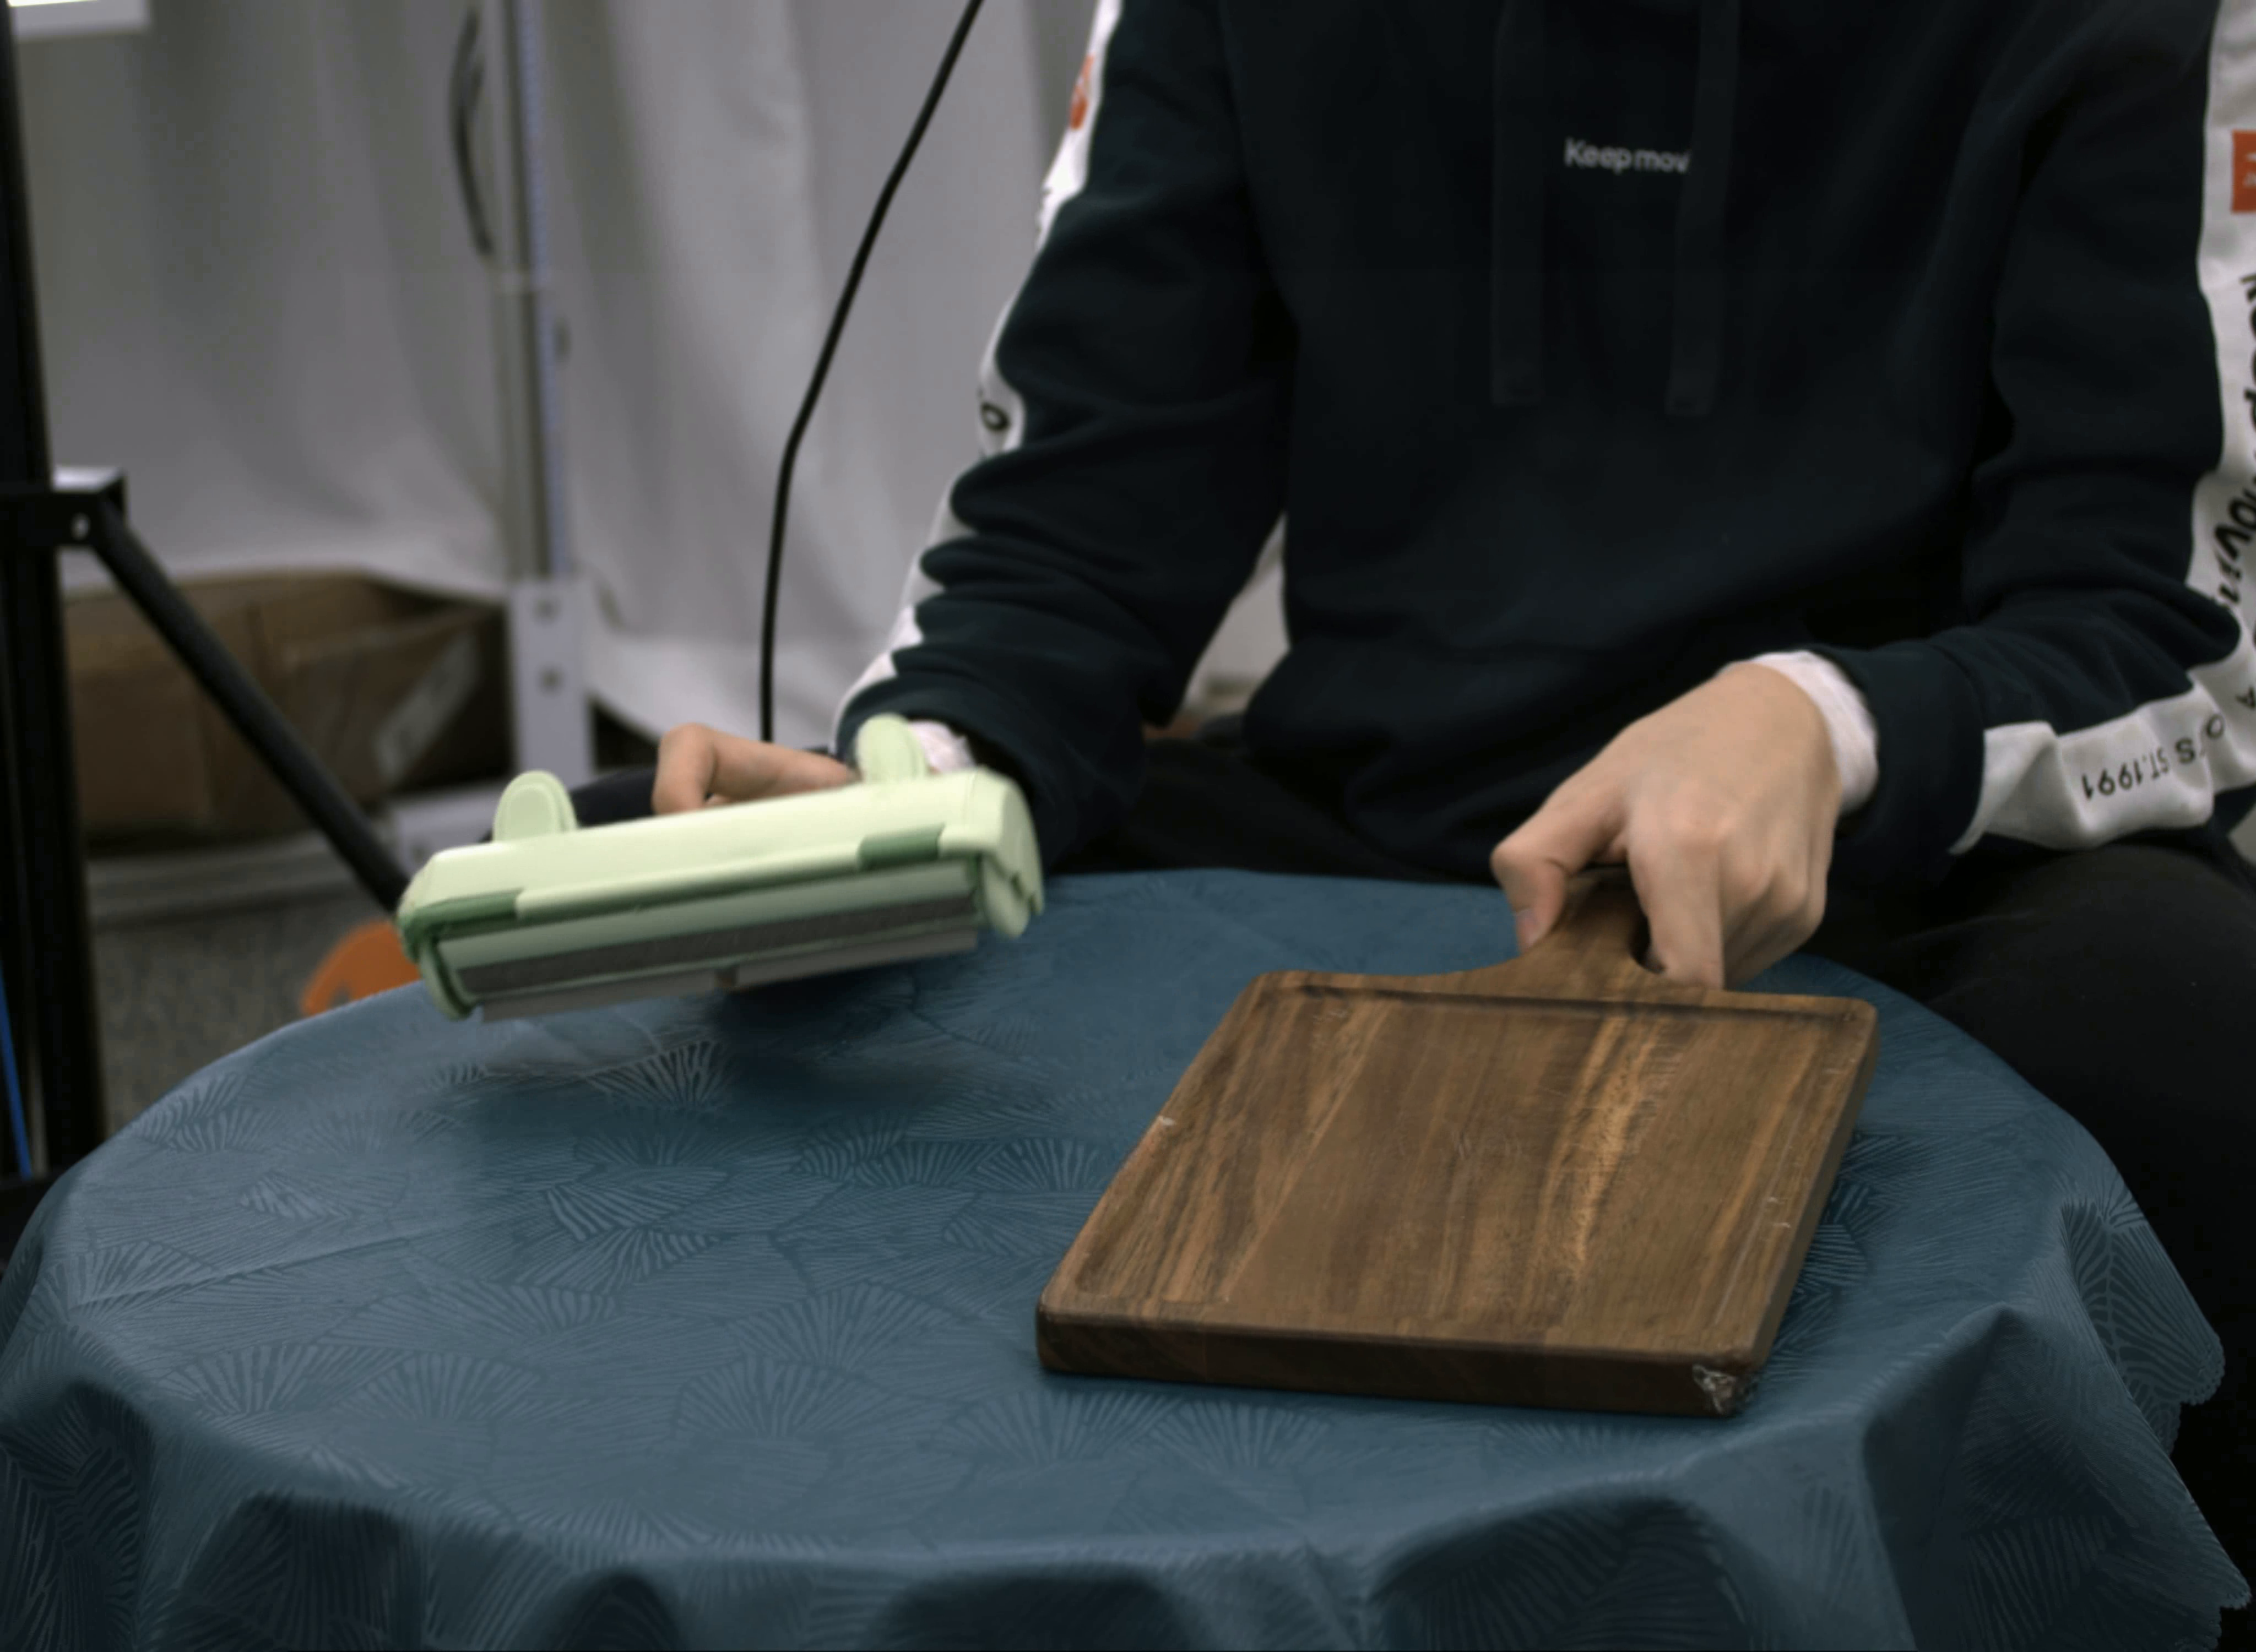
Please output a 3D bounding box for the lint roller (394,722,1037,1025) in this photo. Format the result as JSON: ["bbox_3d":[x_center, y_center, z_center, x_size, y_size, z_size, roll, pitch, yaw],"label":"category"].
[{"bbox_3d":[-0.120,0.009,1.720,0.200,0.082,0.182,-8,7,13],"label":"lint roller"}]

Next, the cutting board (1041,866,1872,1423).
[{"bbox_3d":[0.111,0.083,1.543,0.203,0.023,0.350,2,21,16],"label":"cutting board"}]
